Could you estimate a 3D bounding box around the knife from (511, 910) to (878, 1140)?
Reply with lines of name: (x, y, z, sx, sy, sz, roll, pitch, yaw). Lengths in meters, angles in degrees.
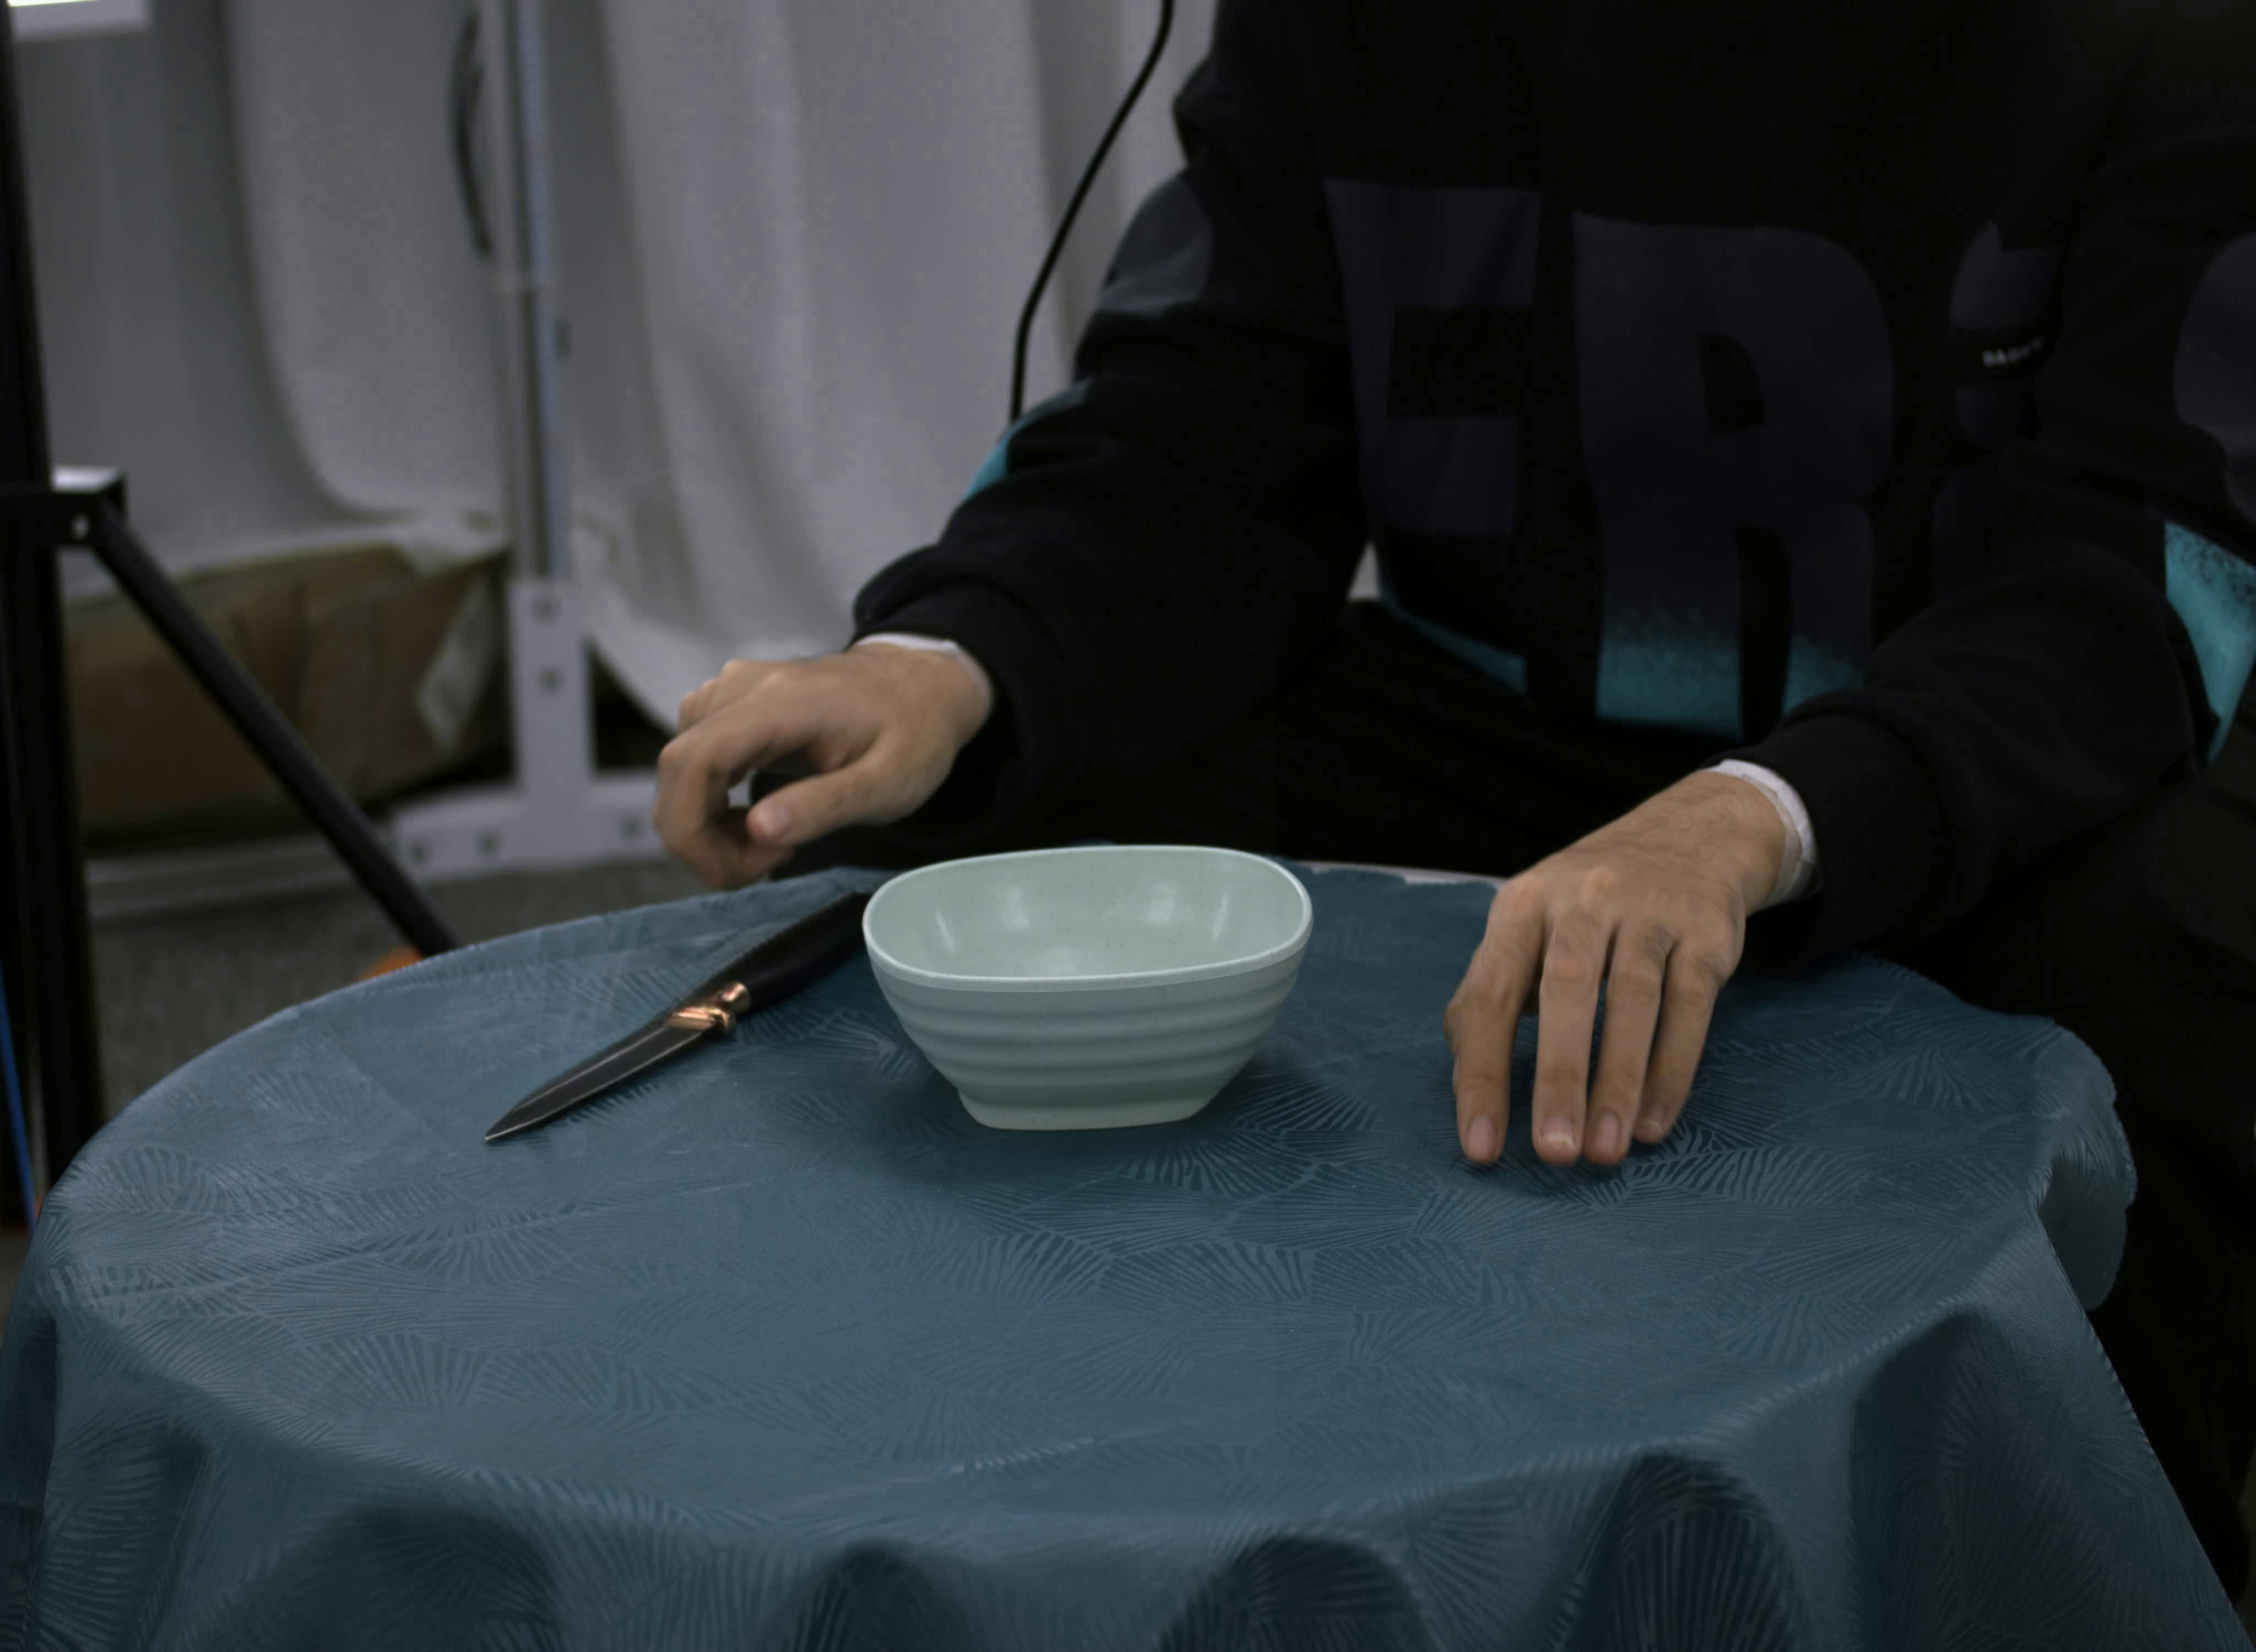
knife: (-0.140, 0.064, 1.715, 0.026, 0.017, 0.222, 3, 17, 28)

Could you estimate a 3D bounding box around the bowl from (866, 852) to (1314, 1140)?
bowl: (-0.010, 0.056, 1.646, 0.151, 0.058, 0.152, -4, 15, 0)
